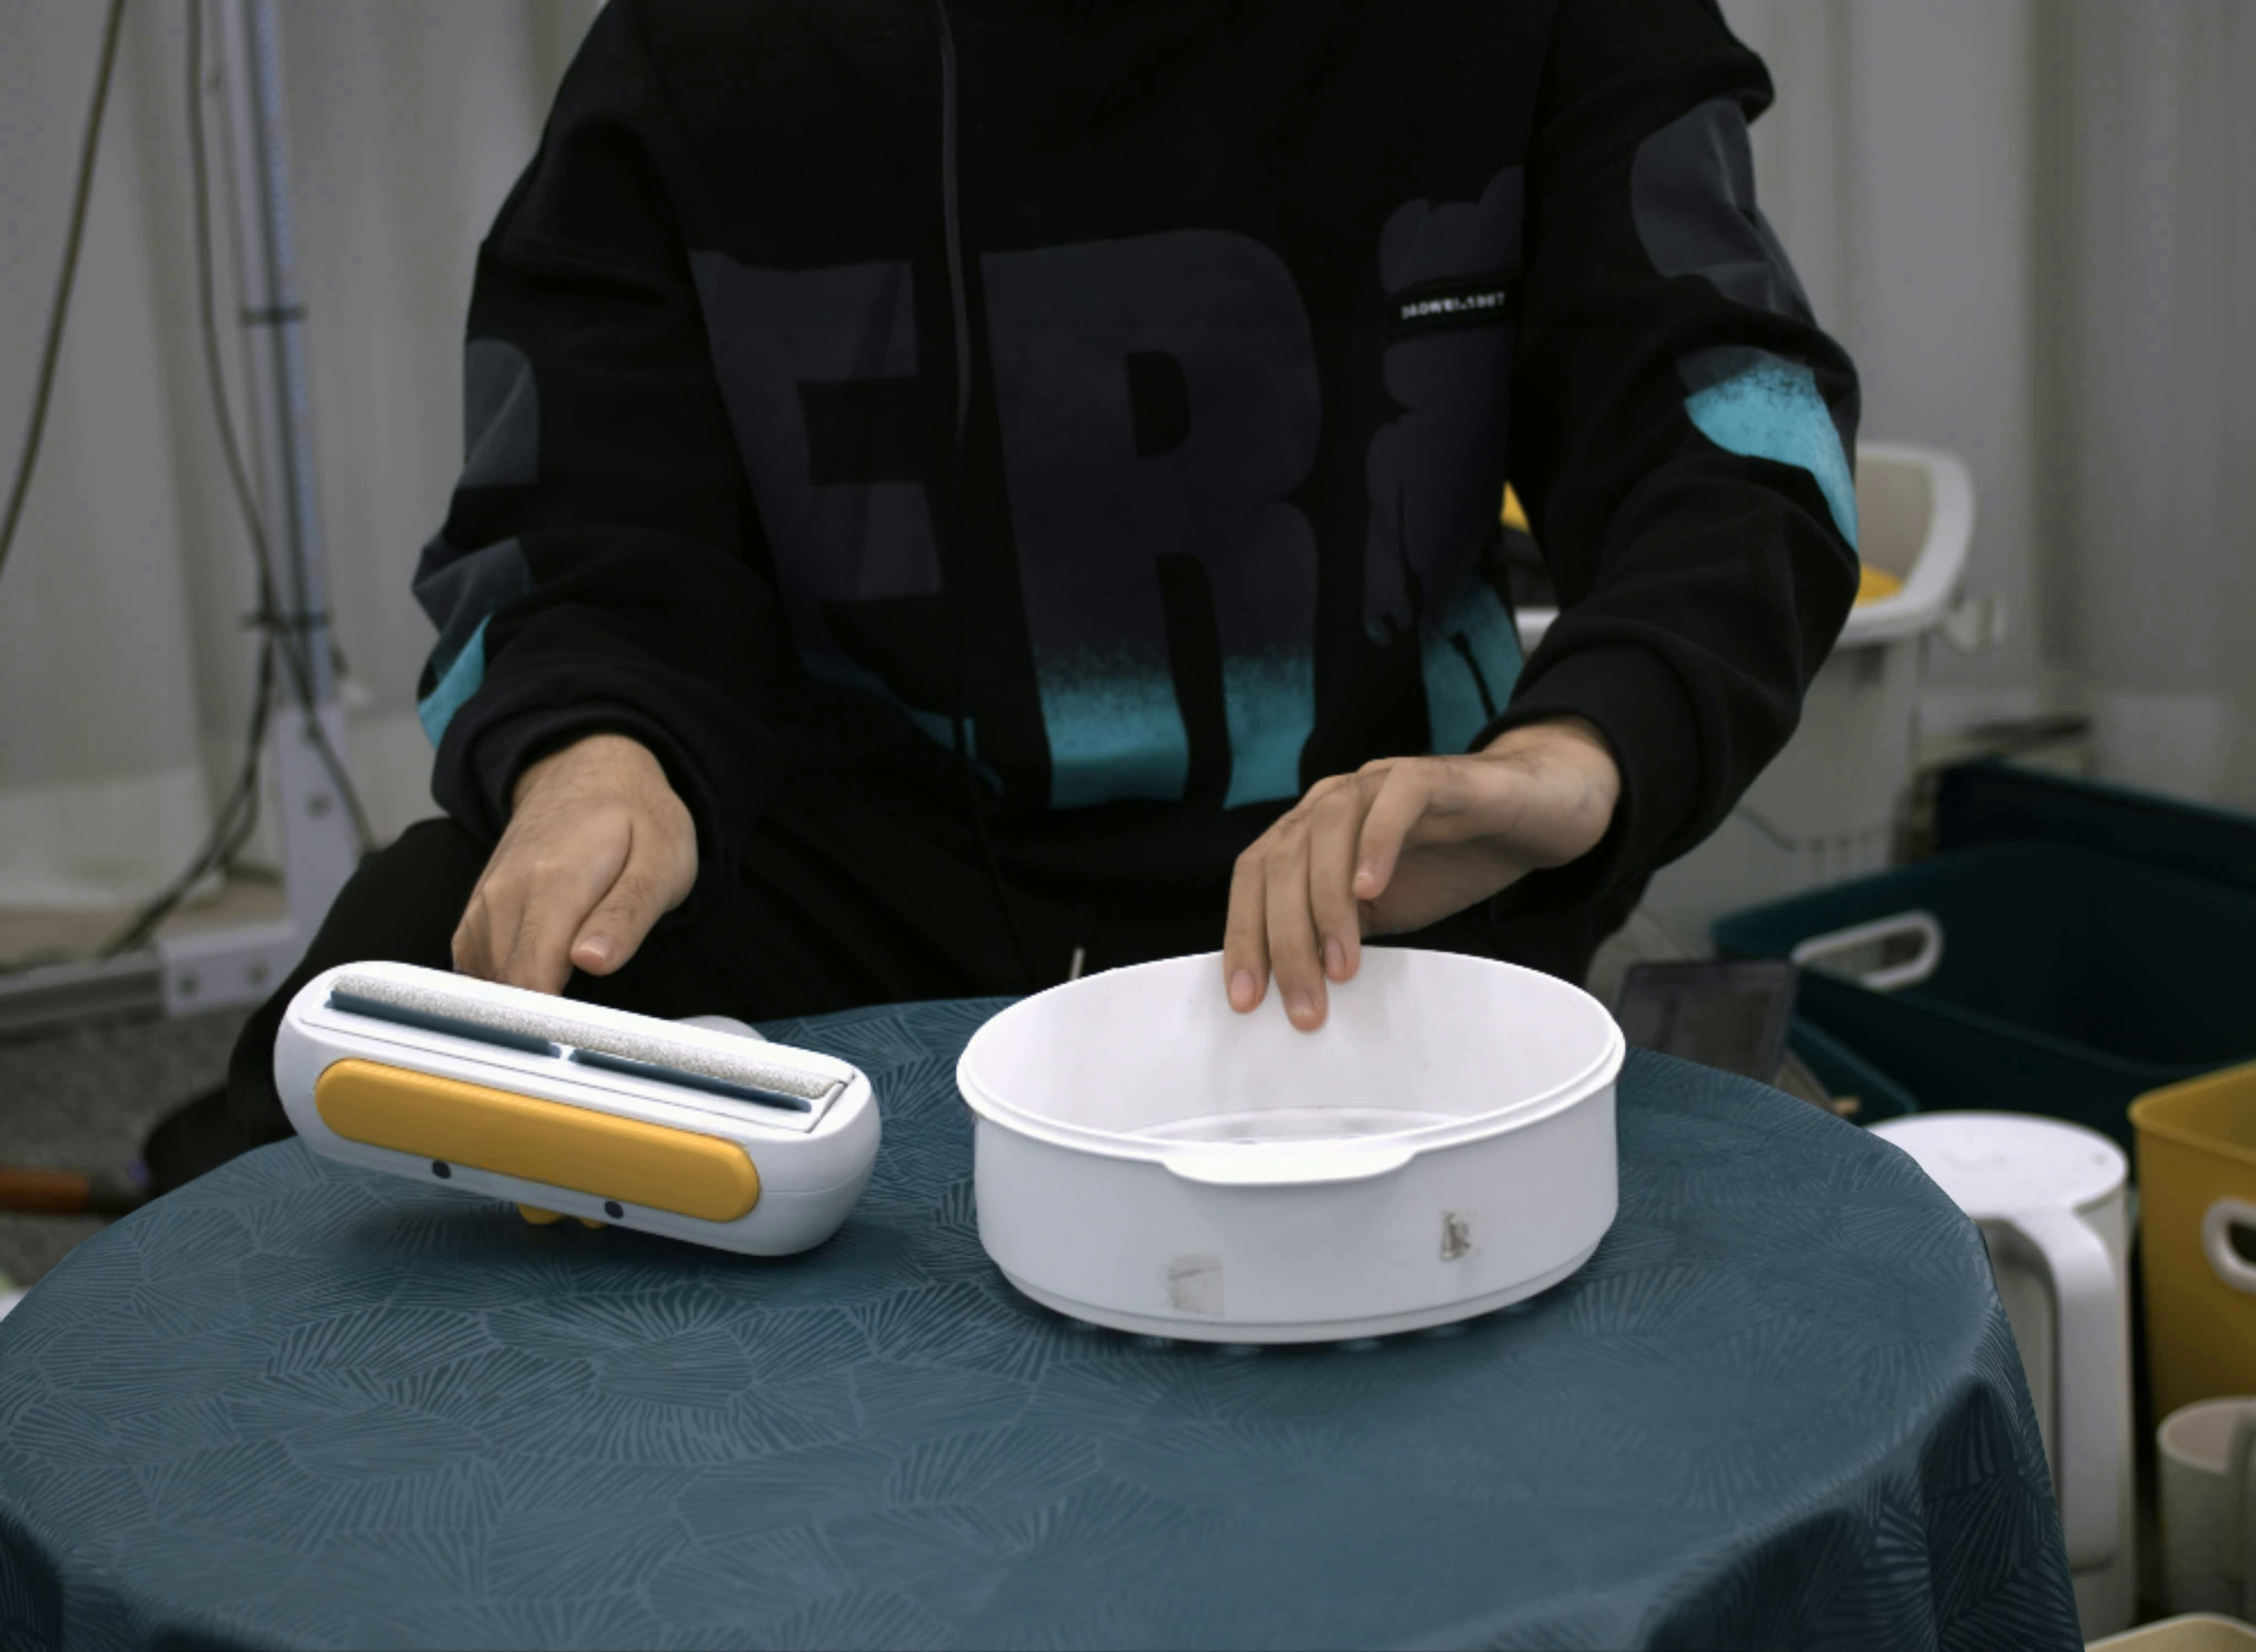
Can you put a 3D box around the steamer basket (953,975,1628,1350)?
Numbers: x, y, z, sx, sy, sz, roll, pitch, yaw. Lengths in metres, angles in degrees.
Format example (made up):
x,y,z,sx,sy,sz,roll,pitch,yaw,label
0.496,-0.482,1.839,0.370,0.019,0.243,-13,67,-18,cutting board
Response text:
x,y,z,sx,sy,sz,roll,pitch,yaw,label
0.049,0.100,1.639,0.201,0.069,0.232,-1,12,2,steamer basket

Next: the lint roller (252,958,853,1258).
x,y,z,sx,sy,sz,roll,pitch,yaw,label
-0.159,0.079,1.749,0.193,0.074,0.193,8,16,19,lint roller
